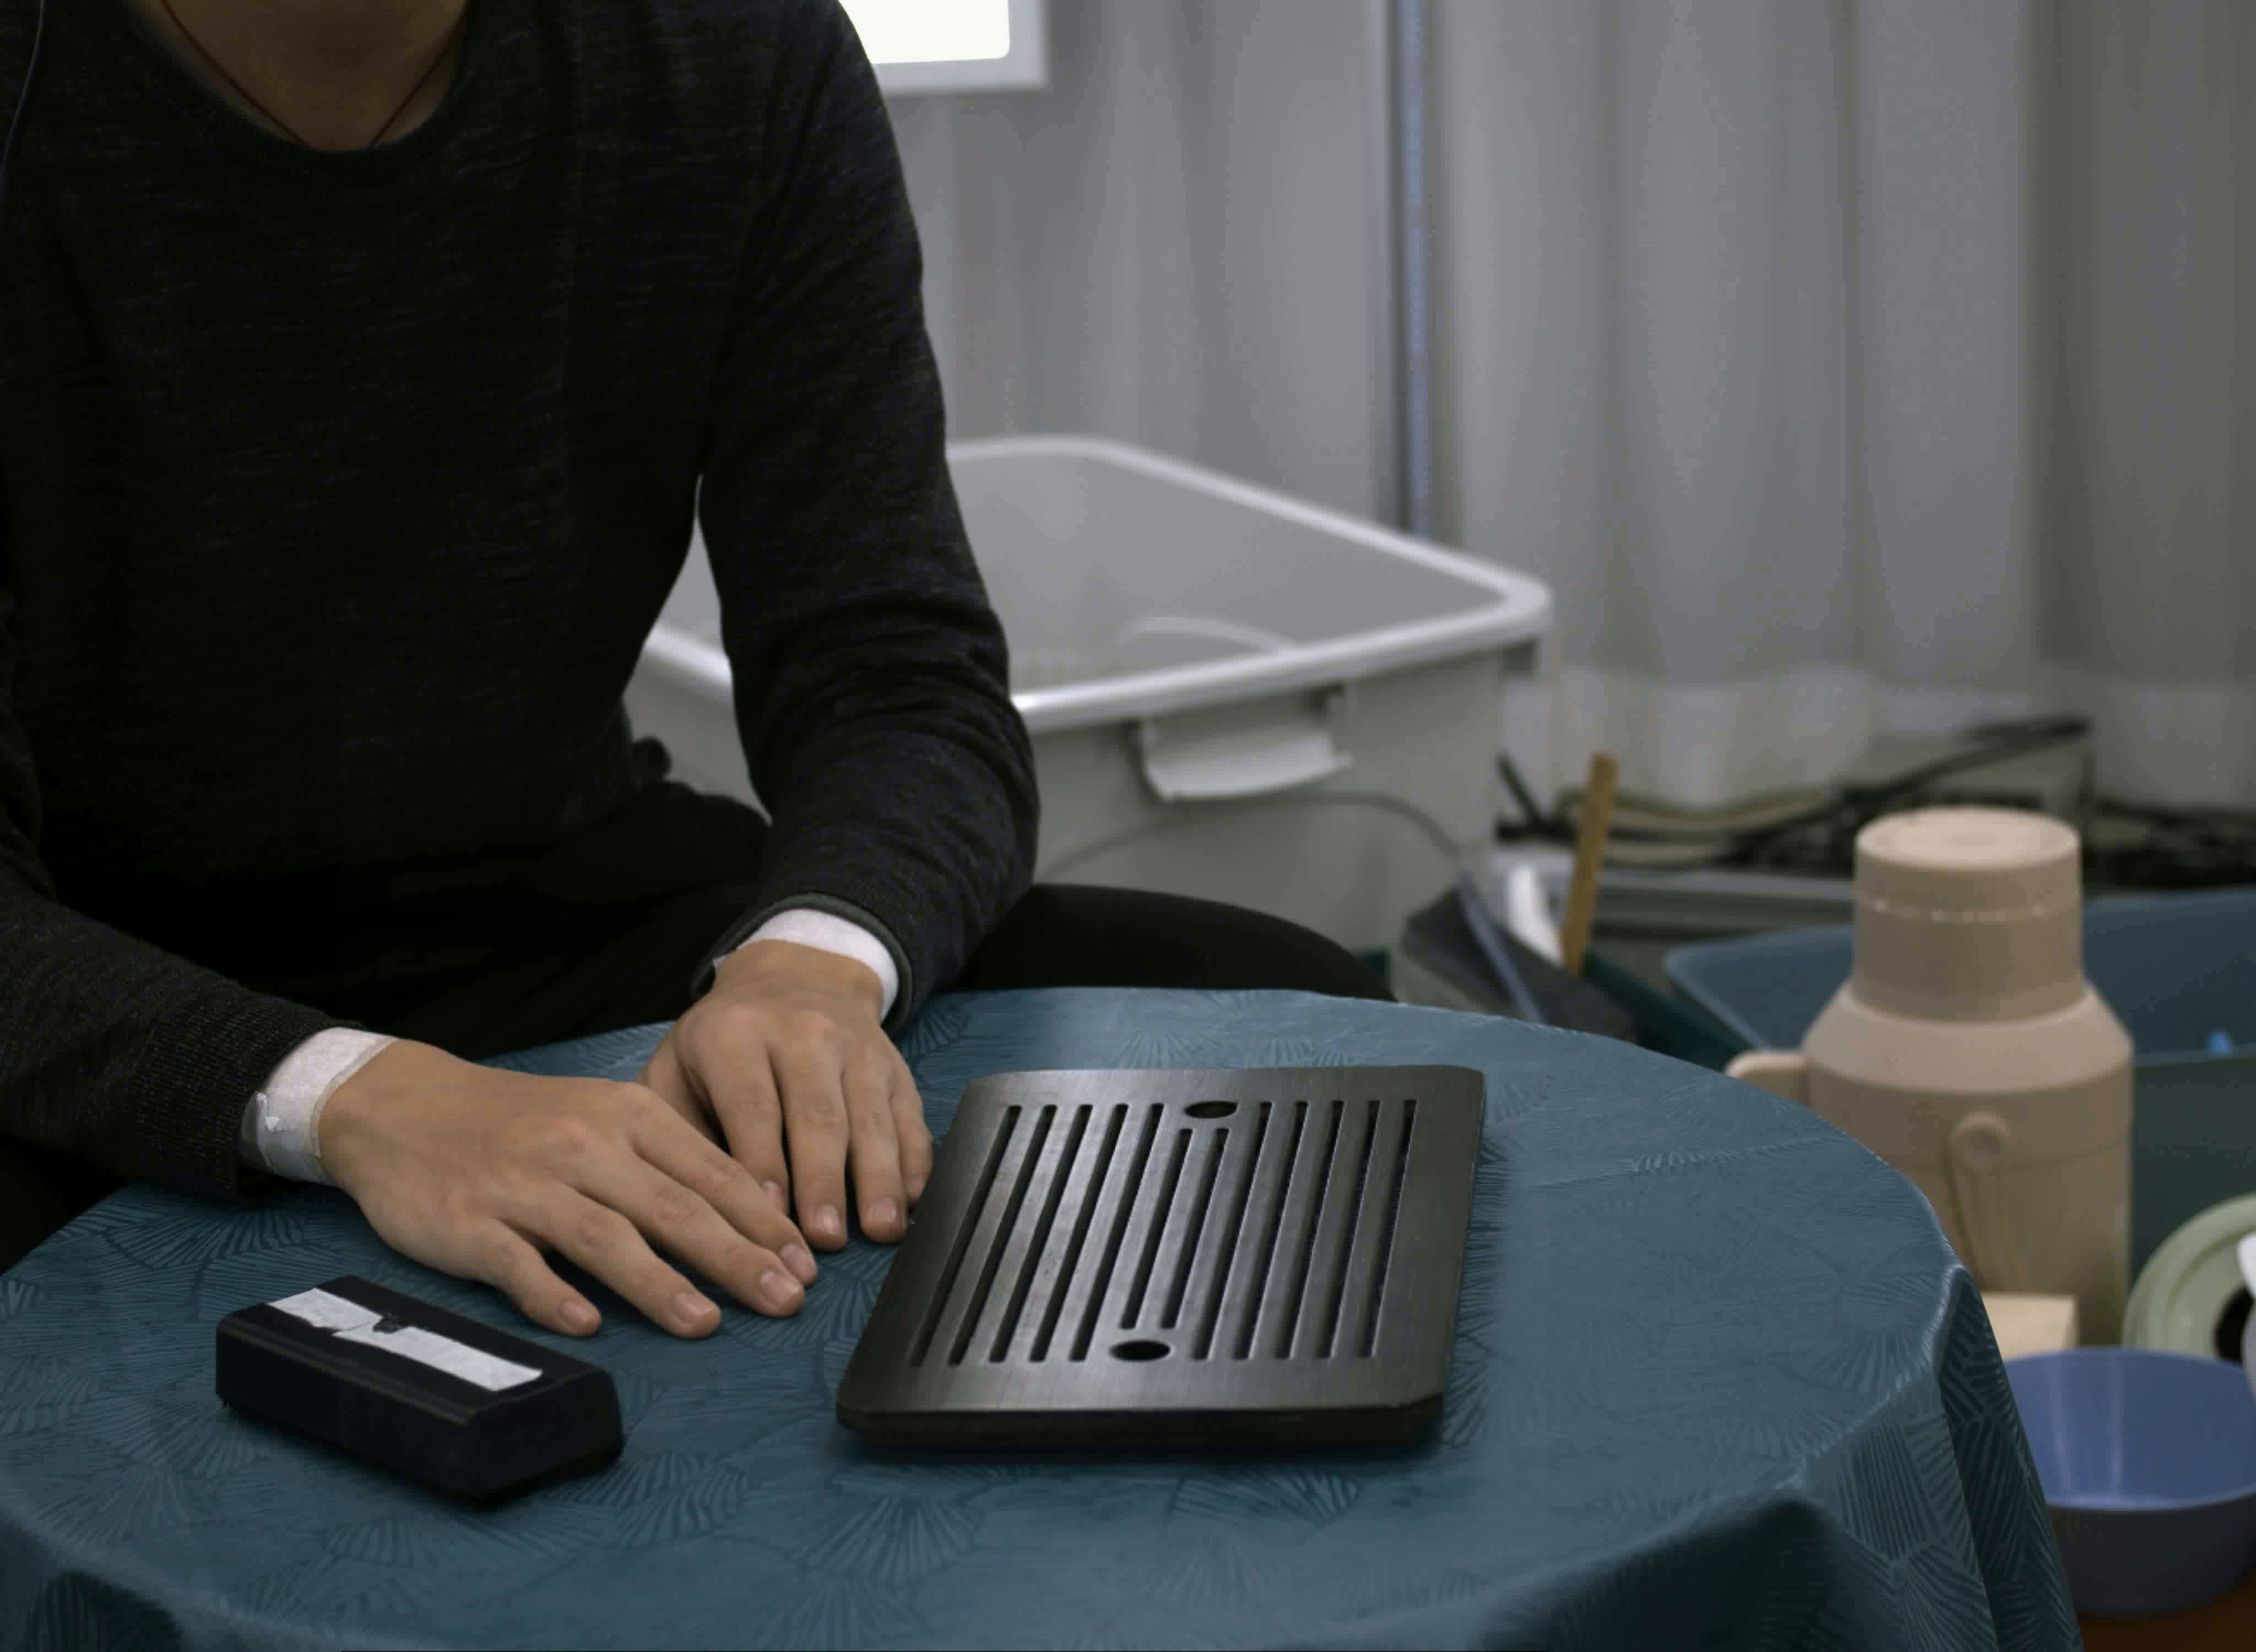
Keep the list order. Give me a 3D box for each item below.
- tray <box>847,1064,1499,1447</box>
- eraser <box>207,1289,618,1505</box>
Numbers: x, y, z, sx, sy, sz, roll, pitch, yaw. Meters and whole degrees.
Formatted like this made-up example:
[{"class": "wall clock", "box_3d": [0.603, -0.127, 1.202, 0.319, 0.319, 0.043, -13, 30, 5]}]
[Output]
[{"class": "tray", "box_3d": [0.021, 0.126, 1.632, 0.170, 0.018, 0.307, -1, 15, 7]}, {"class": "eraser", "box_3d": [-0.200, 0.159, 1.532, 0.053, 0.030, 0.126, -13, 16, -42]}]
